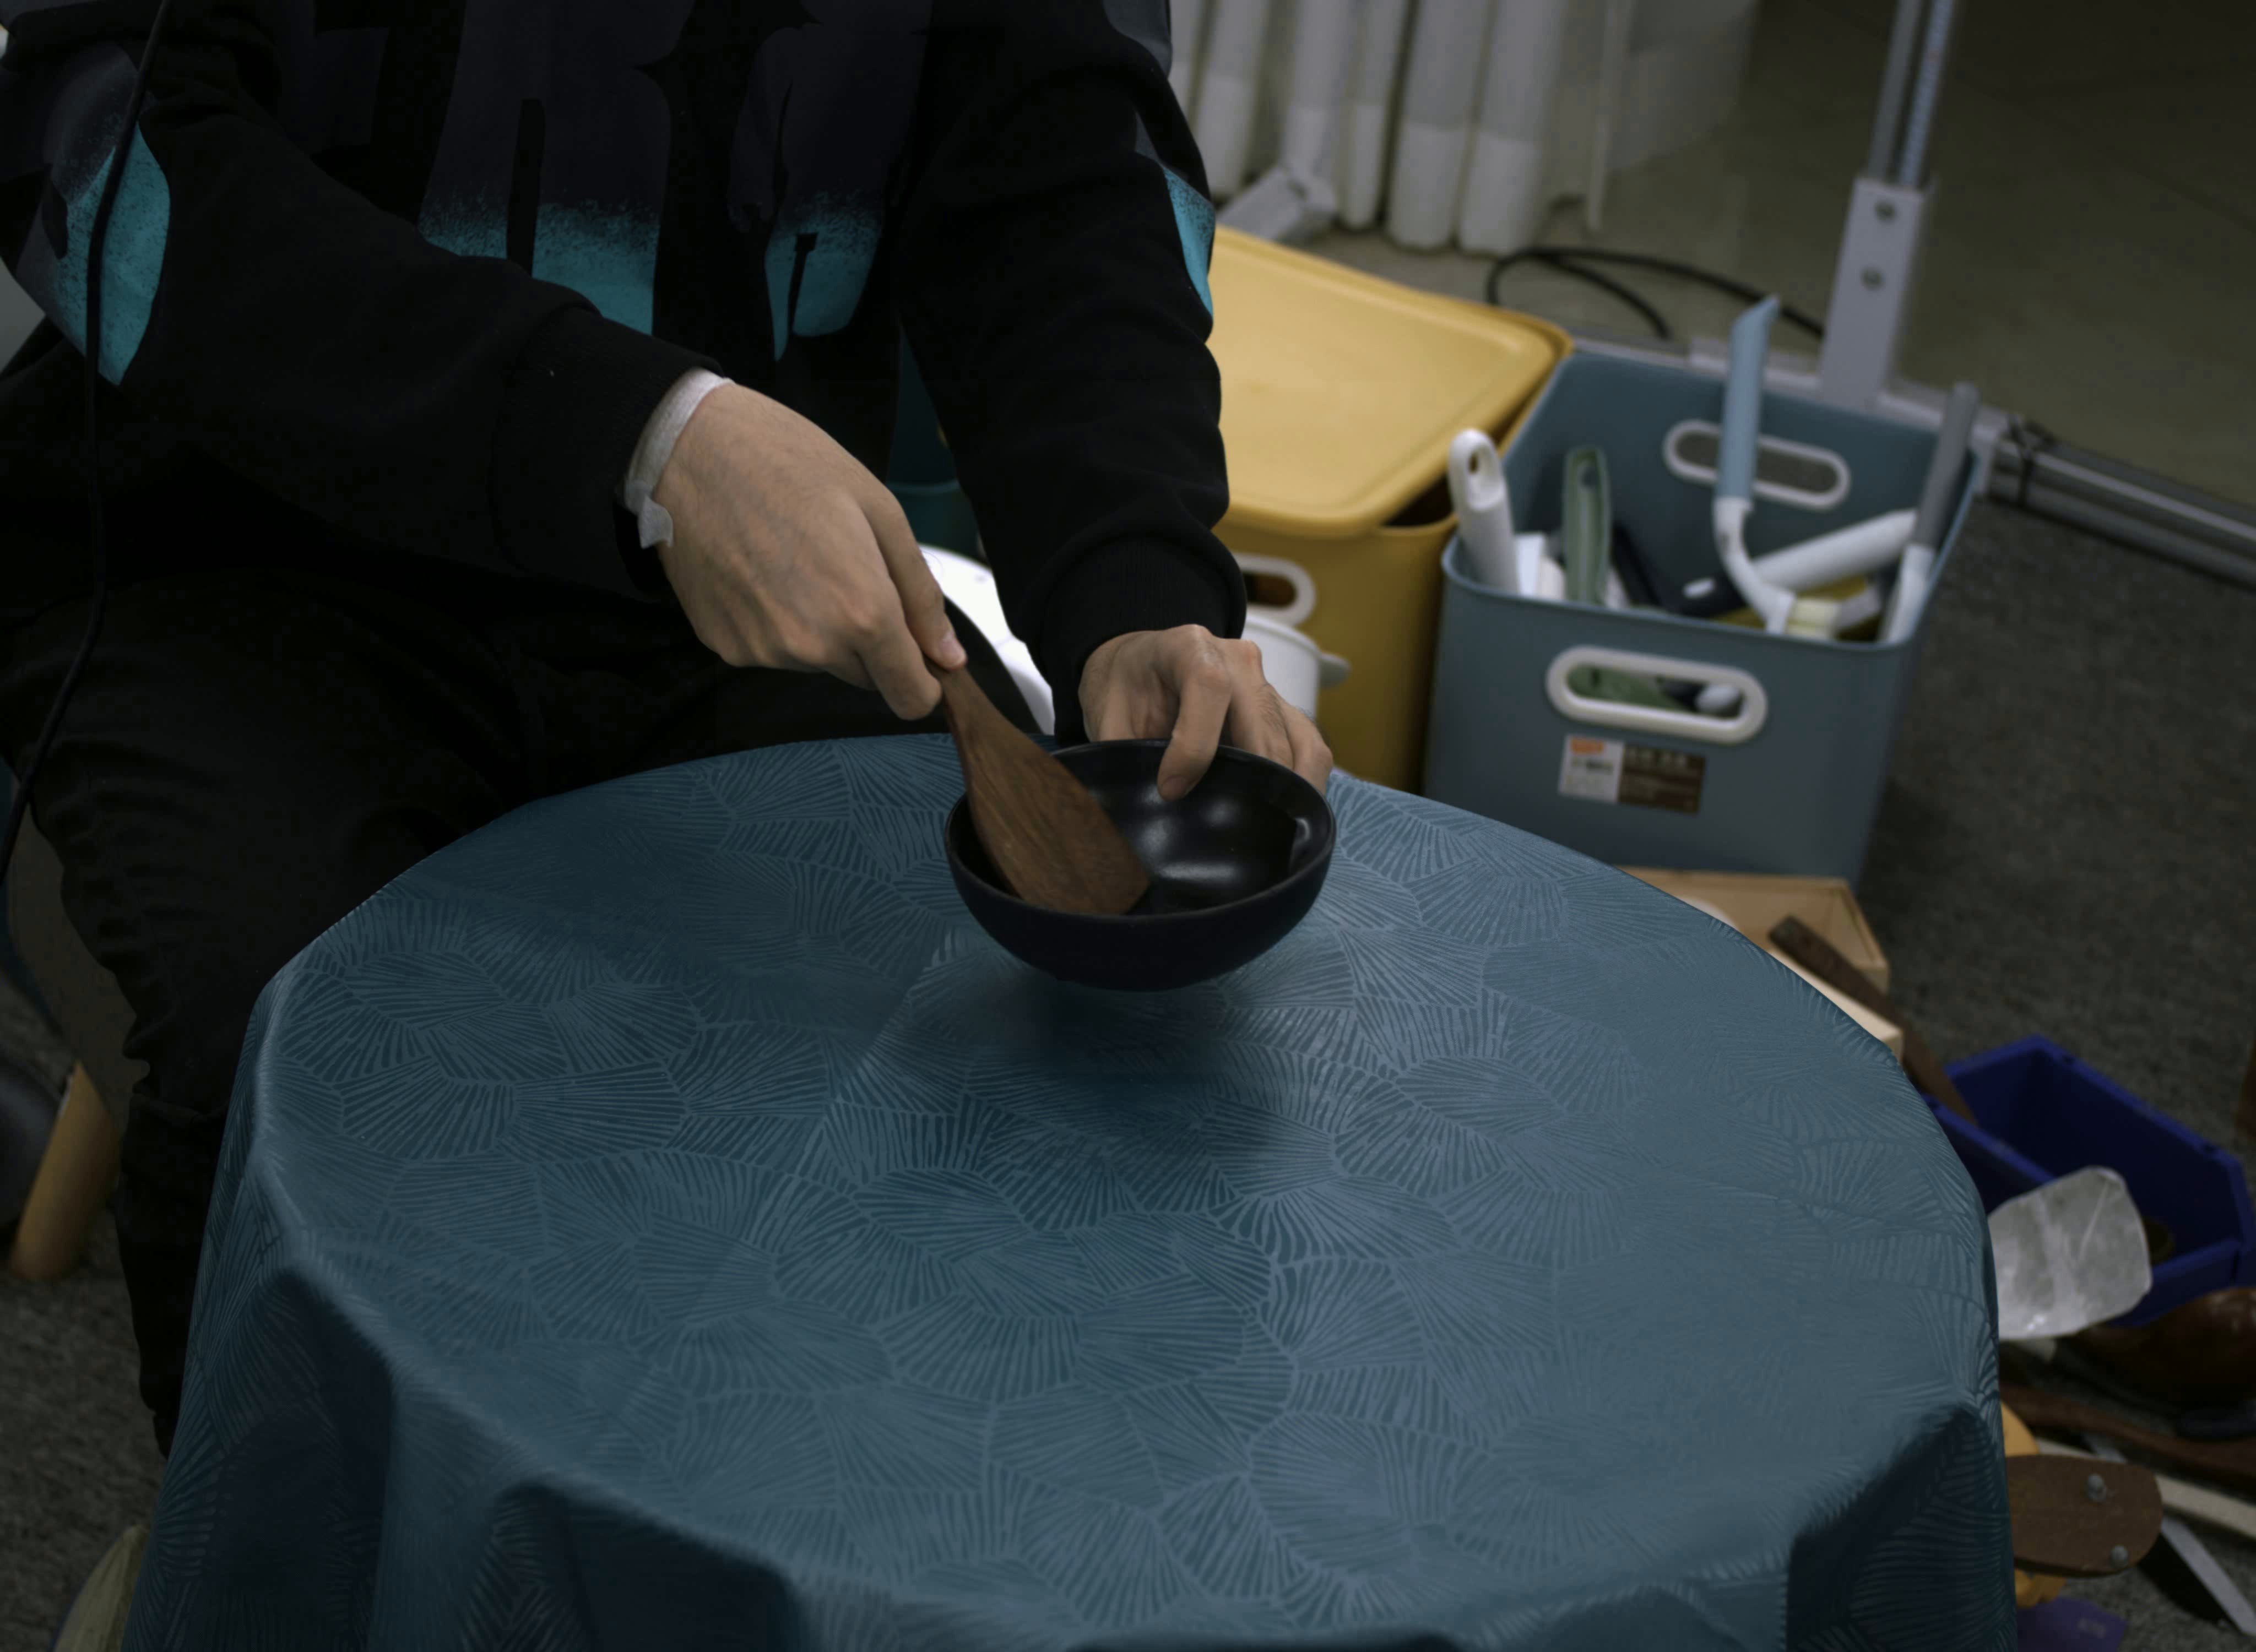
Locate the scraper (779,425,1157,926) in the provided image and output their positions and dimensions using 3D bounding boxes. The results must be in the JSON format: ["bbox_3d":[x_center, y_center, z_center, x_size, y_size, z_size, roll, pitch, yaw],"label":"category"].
[{"bbox_3d":[-0.062,-0.052,1.897,0.211,0.011,0.075,57,35,1],"label":"scraper"}]

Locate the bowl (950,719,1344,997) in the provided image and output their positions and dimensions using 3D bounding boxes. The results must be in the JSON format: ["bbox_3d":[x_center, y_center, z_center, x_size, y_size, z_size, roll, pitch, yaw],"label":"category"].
[{"bbox_3d":[0.005,0.019,1.876,0.139,0.049,0.141,3,33,-2],"label":"bowl"}]
